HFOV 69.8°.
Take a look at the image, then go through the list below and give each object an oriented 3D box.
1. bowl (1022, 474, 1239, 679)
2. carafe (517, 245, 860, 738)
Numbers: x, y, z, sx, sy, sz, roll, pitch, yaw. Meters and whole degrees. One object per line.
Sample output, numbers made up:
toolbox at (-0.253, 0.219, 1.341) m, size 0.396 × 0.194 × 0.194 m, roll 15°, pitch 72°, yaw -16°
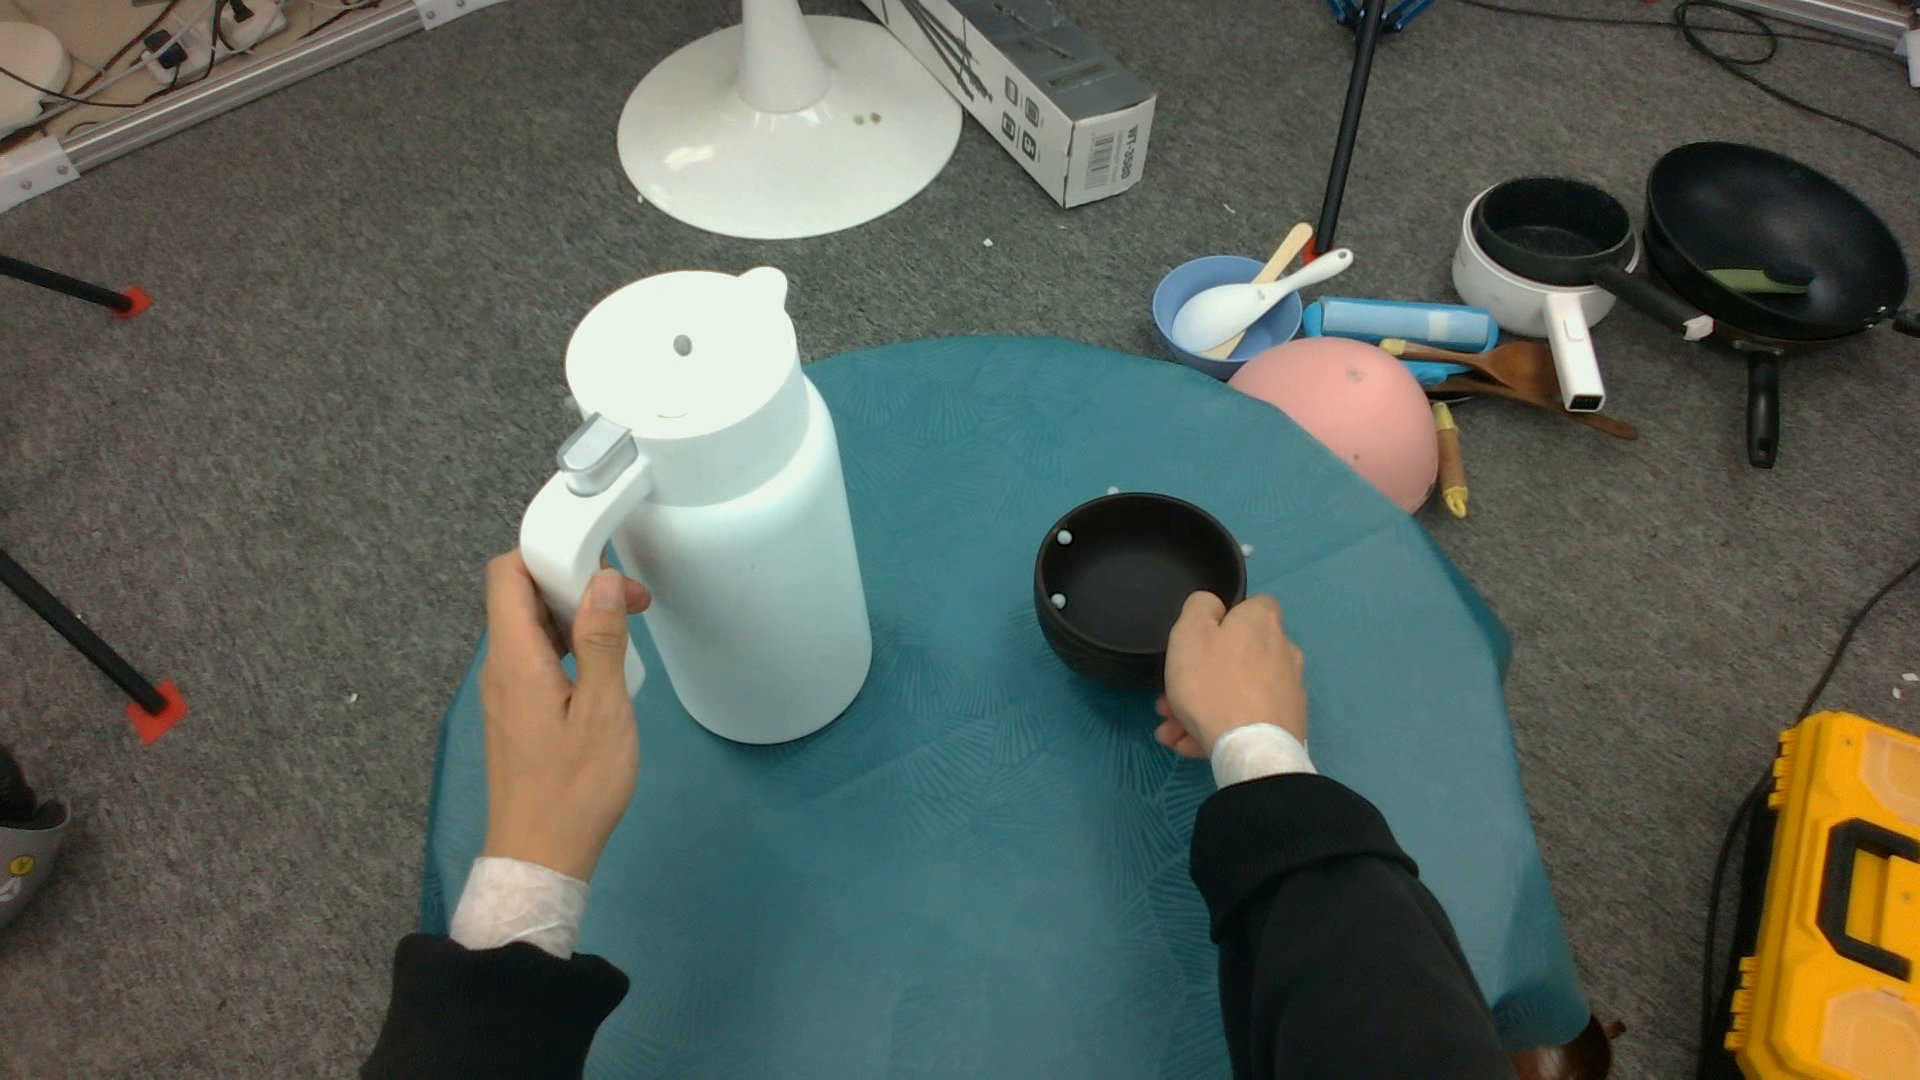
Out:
bowl at (0.094, 0.028, 0.770) m, size 0.118 × 0.069 × 0.118 m, roll -1°, pitch 51°, yaw 1°
carafe at (-0.127, 0.003, 0.688) m, size 0.124 × 0.267 × 0.173 m, roll 25°, pitch 59°, yaw 16°
